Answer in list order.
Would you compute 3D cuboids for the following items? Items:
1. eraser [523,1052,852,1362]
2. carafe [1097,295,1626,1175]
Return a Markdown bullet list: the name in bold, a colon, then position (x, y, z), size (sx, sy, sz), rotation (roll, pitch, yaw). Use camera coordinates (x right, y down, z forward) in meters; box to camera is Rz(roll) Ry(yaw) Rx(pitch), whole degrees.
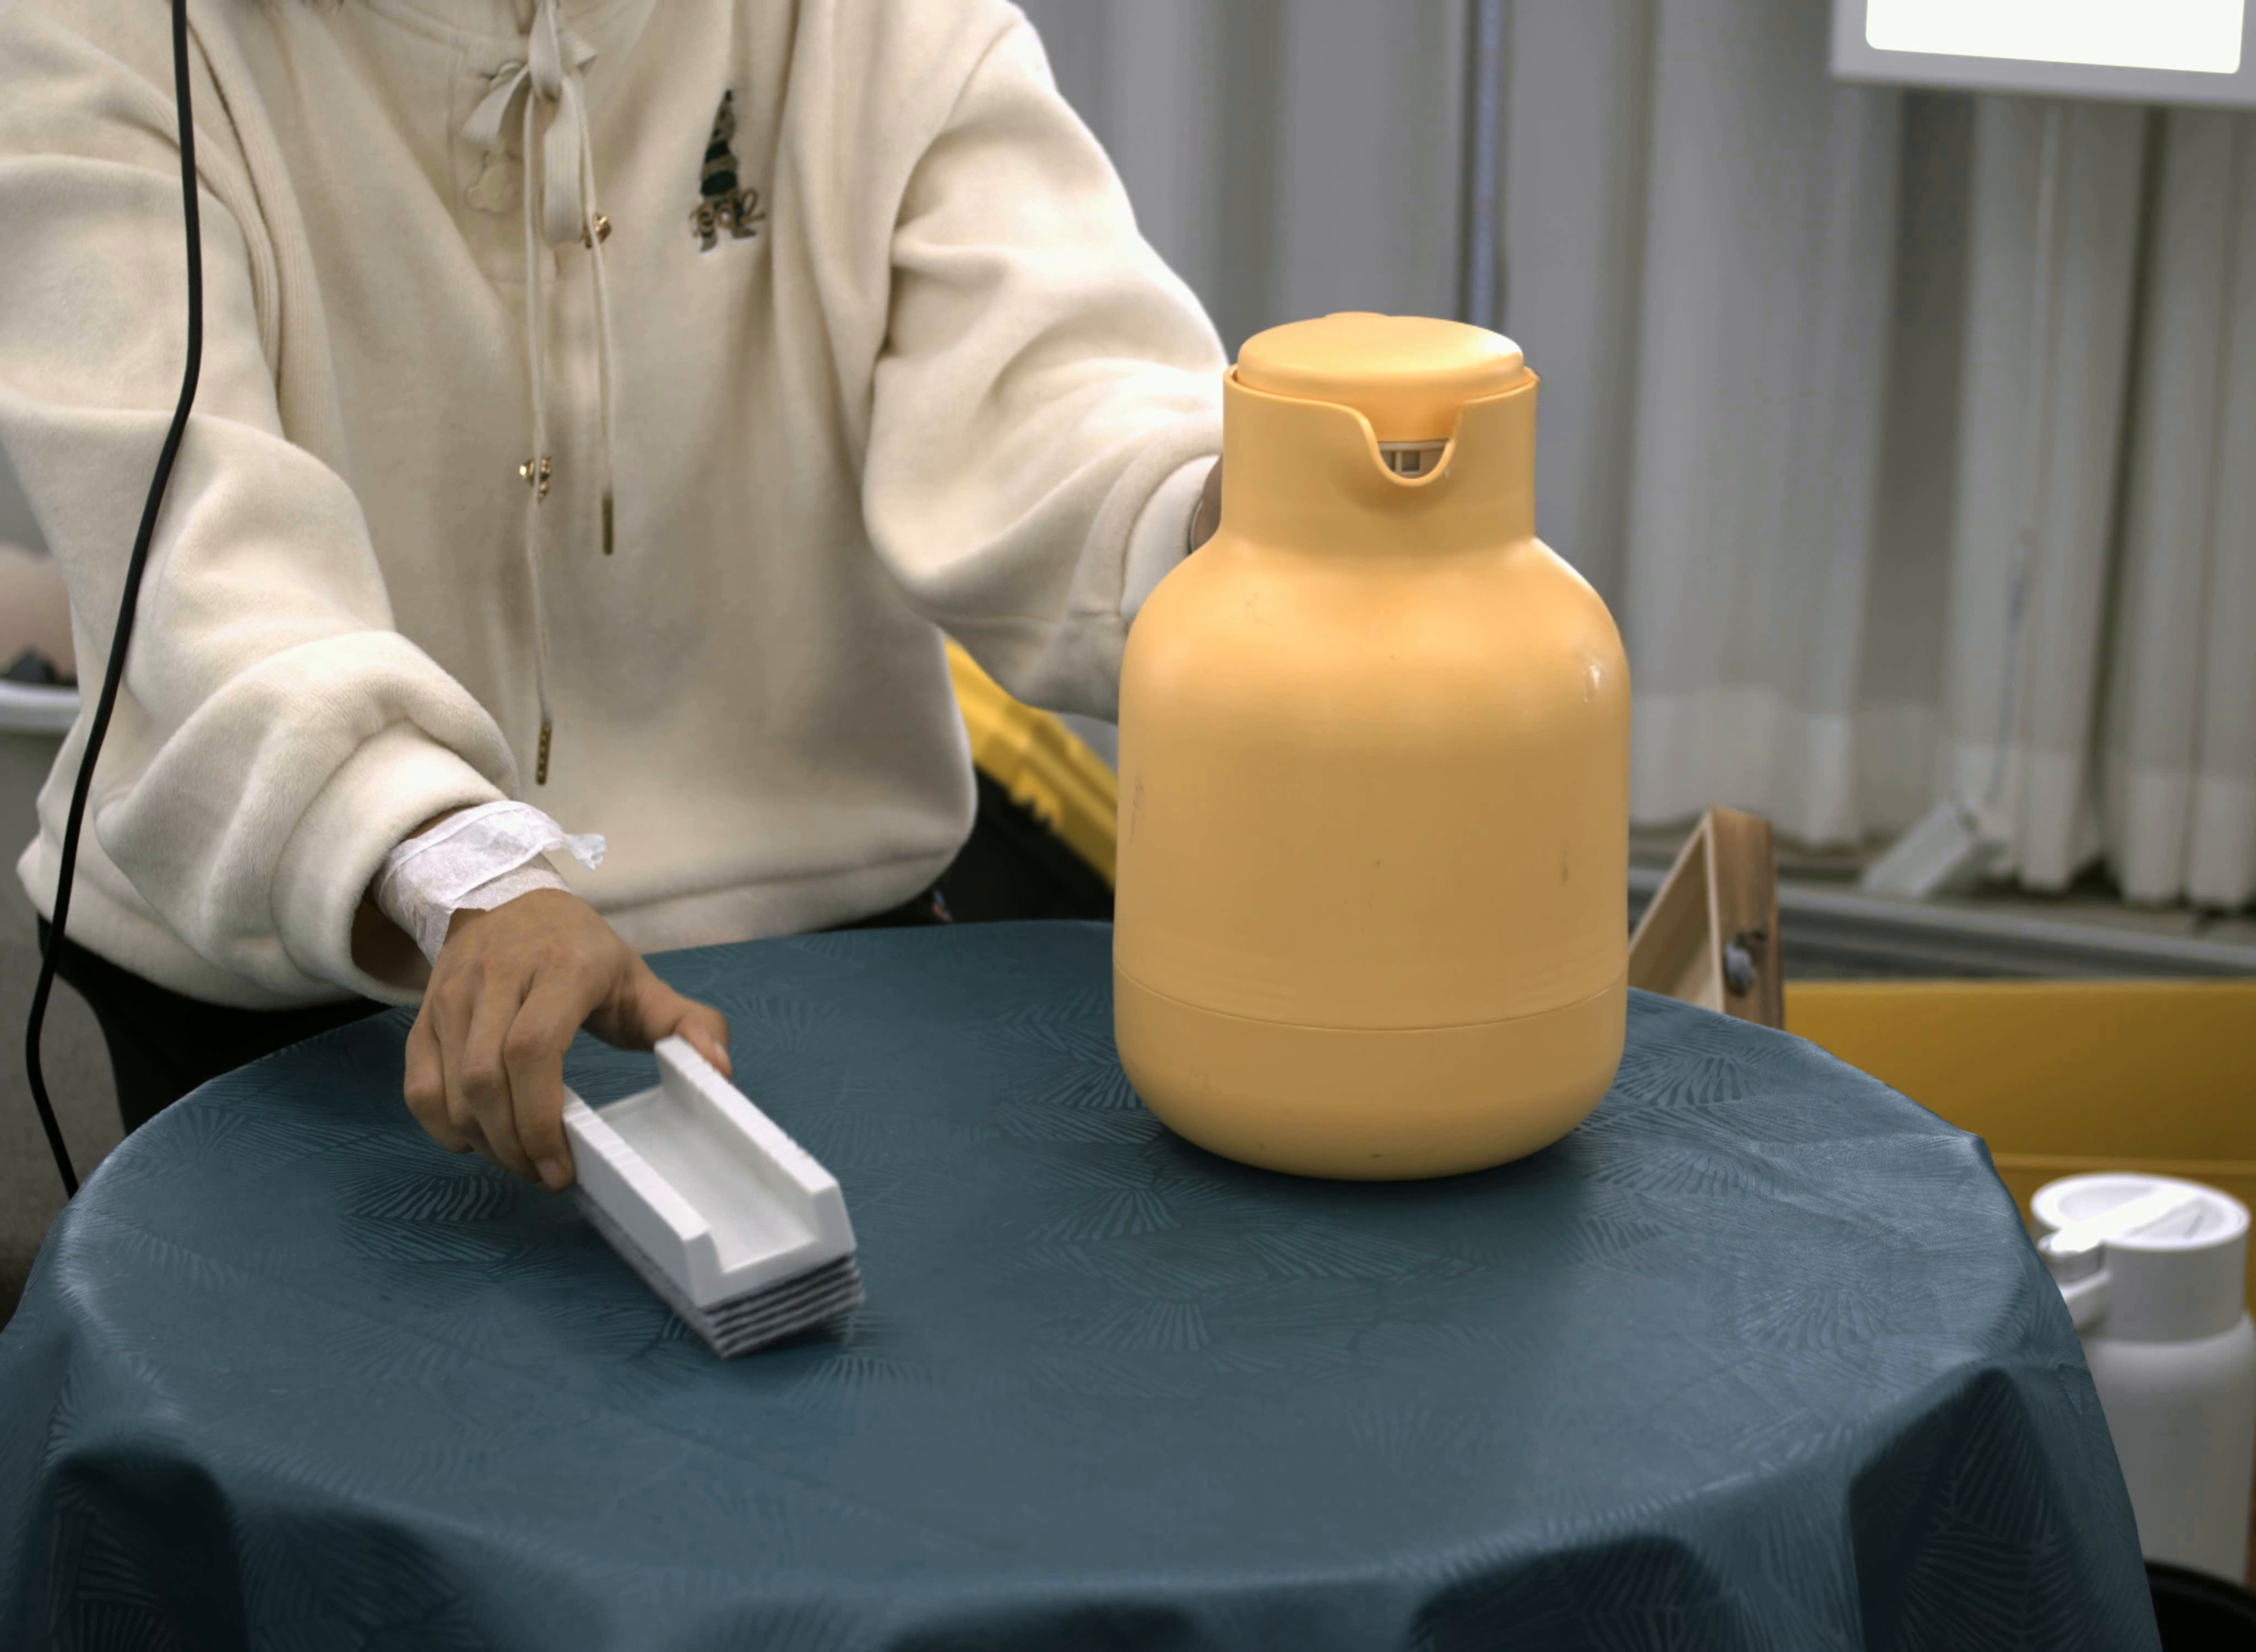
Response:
- **eraser**: position (-0.128, 0.109, 1.532), size (0.050, 0.047, 0.132), rotation (-21, 24, -21)
- **carafe**: position (0.075, -0.037, 1.662), size (0.163, 0.262, 0.201), rotation (2, 17, -4)
